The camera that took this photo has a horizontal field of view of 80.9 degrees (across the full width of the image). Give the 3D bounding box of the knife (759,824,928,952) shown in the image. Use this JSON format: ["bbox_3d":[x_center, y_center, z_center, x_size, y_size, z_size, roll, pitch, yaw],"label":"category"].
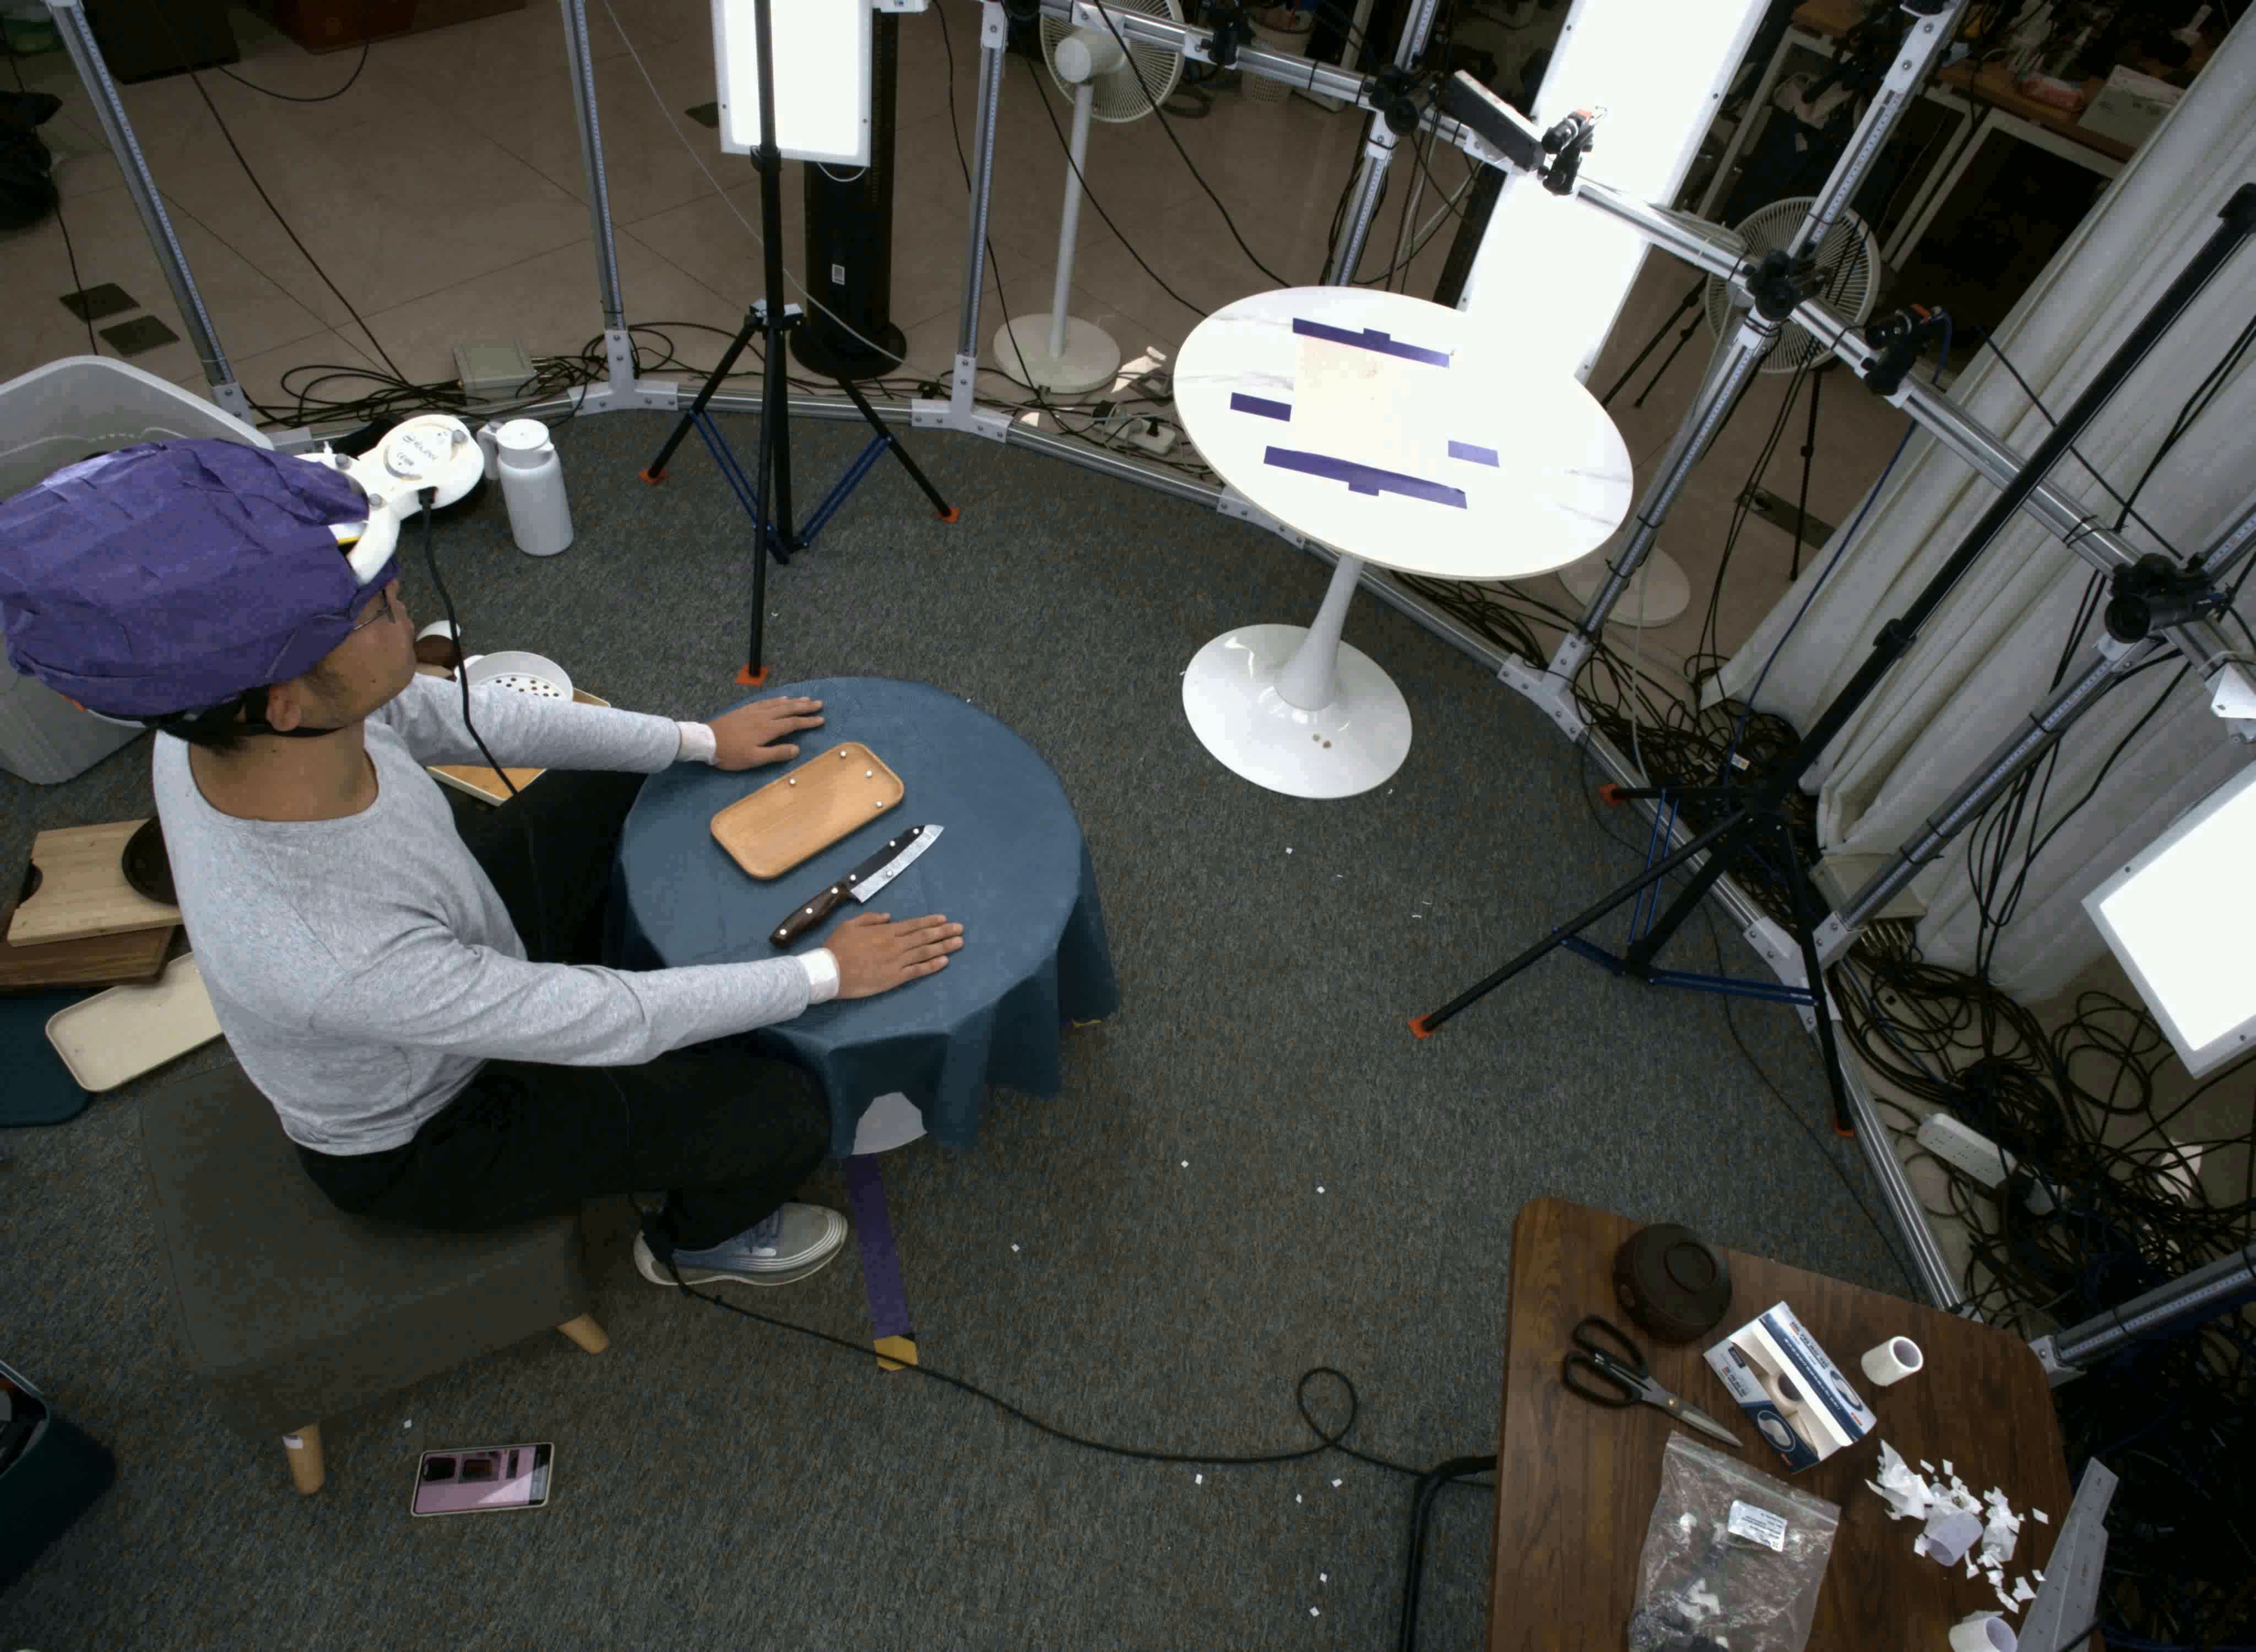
[{"bbox_3d":[-0.363,0.073,1.687,0.049,0.020,0.289,42,53,11],"label":"knife"}]

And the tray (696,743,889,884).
[{"bbox_3d":[-0.446,-0.020,1.734,0.127,0.023,0.251,42,56,20],"label":"tray"}]
